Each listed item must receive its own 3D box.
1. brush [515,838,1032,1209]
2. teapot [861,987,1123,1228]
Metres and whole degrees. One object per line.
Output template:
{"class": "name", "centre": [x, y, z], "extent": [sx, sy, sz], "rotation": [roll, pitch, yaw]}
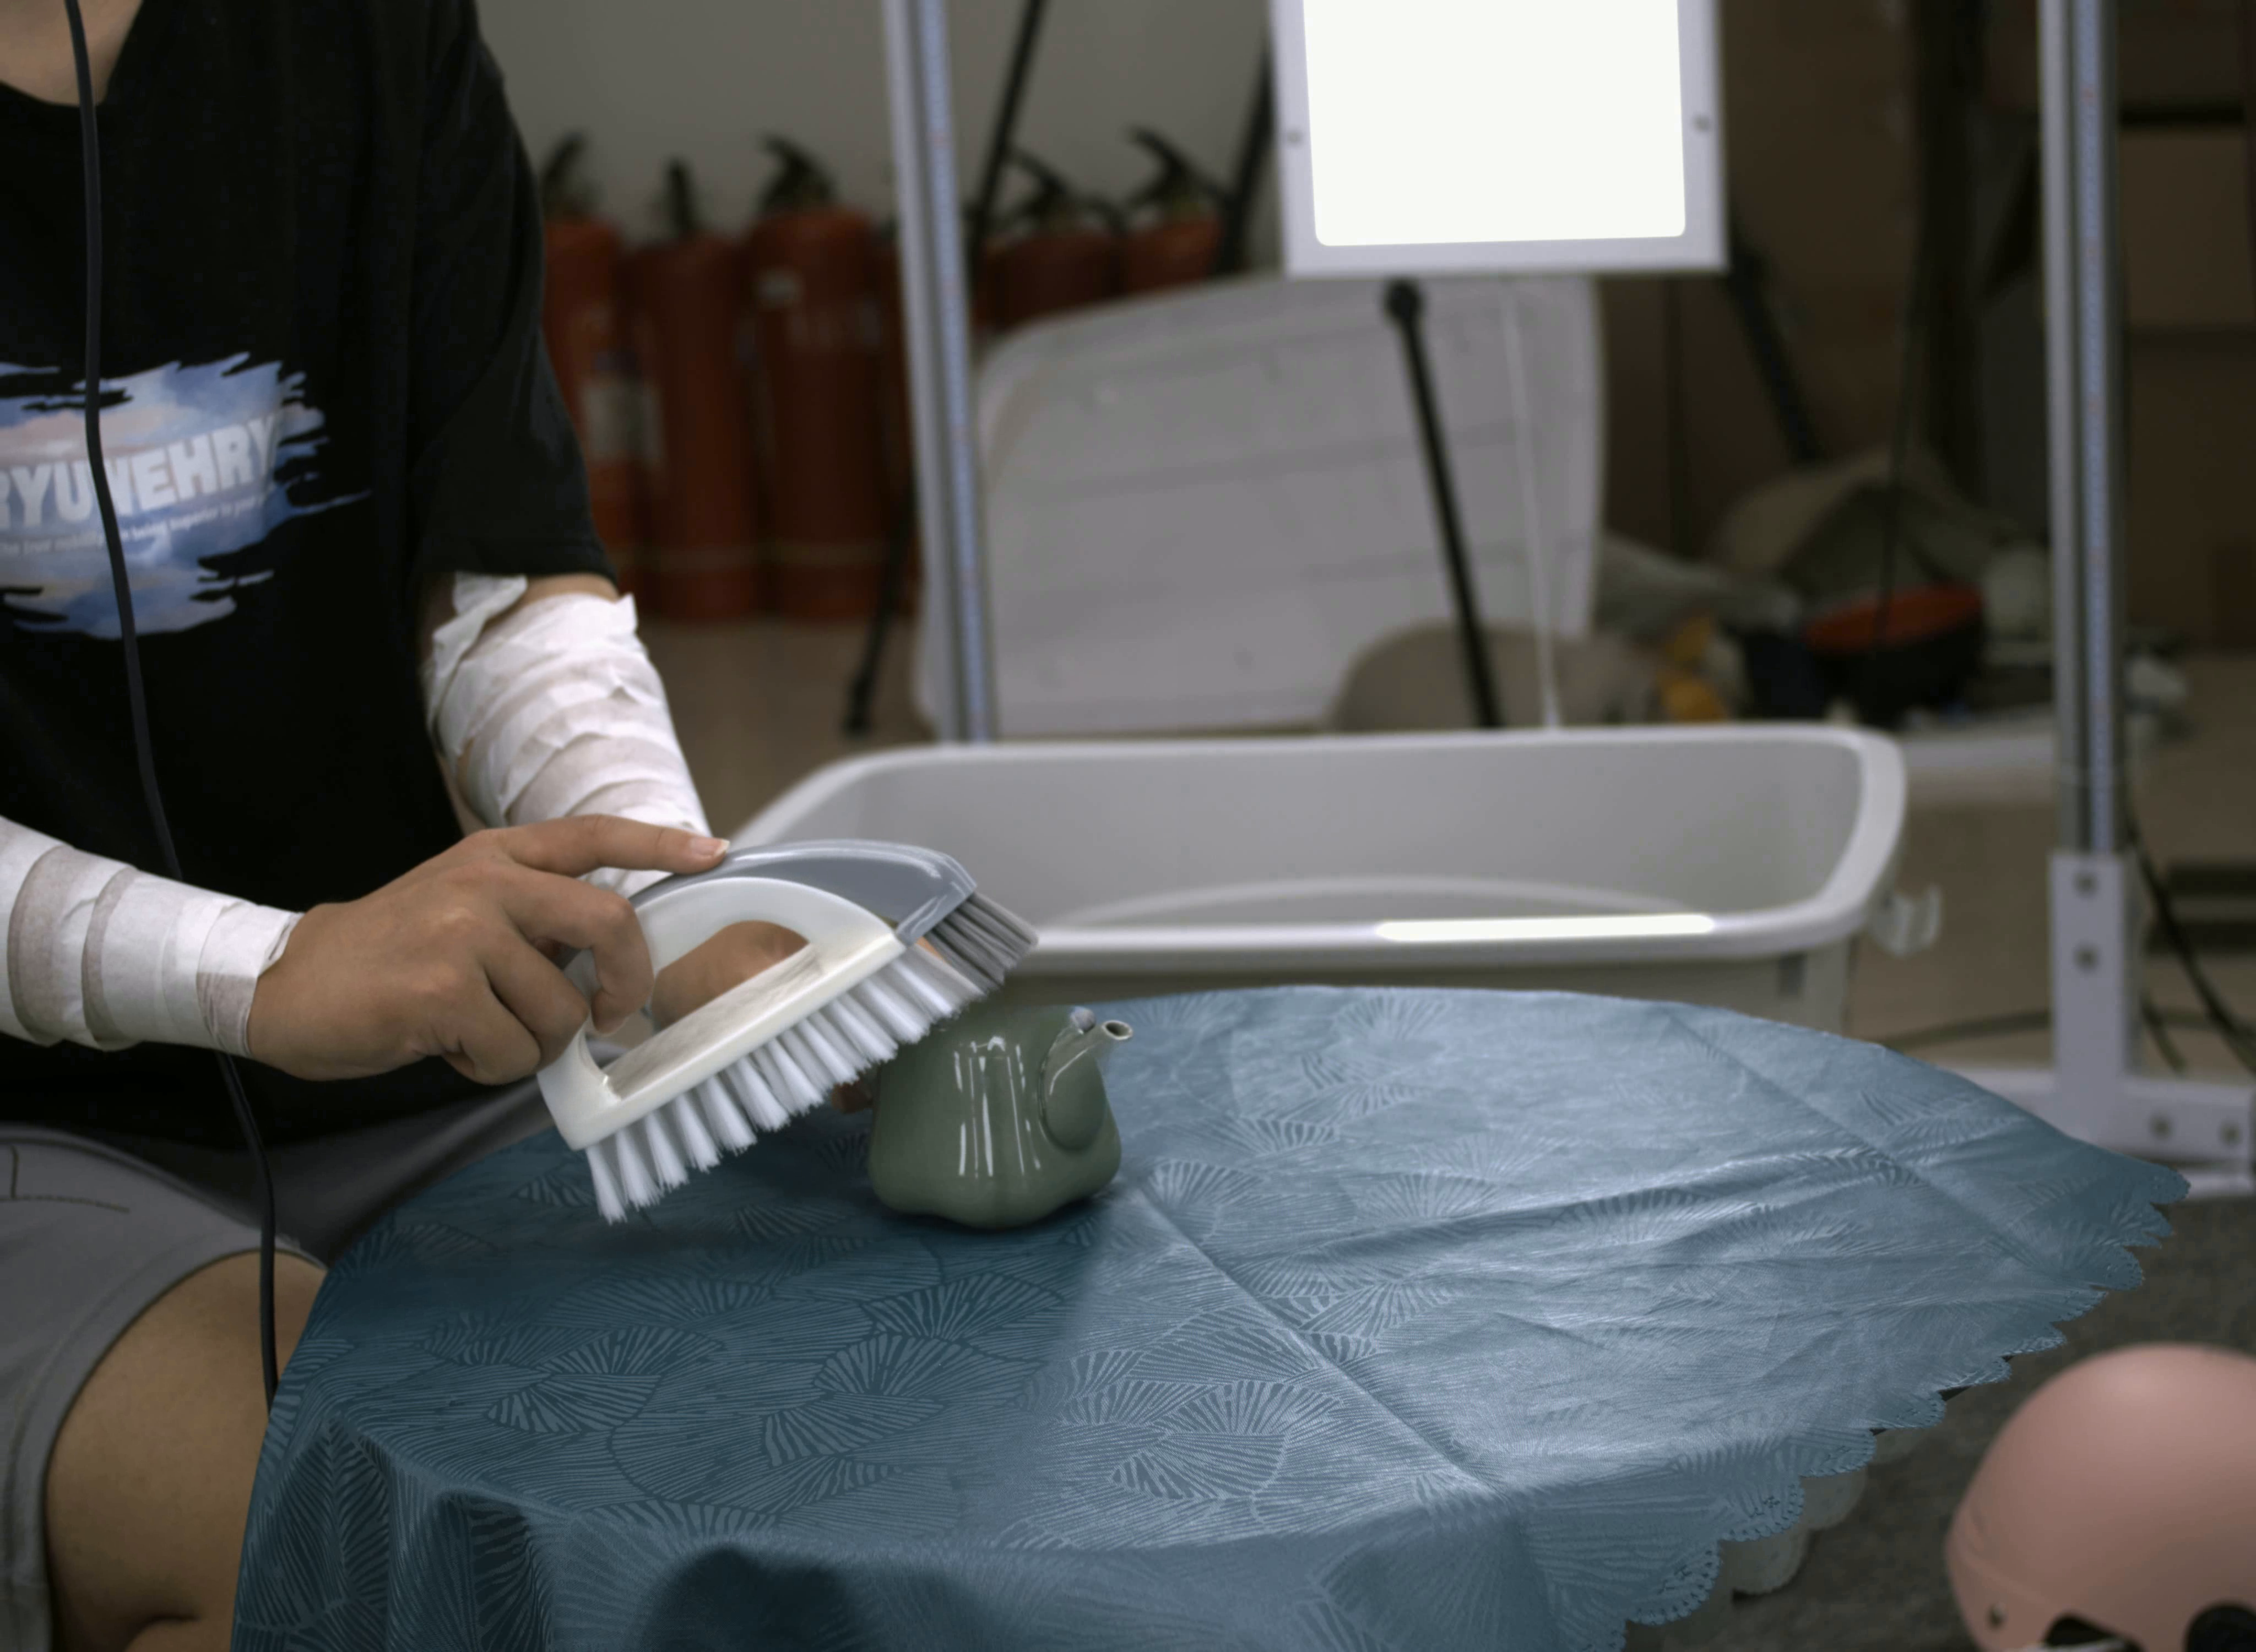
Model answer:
{"class": "brush", "centre": [-0.127, 0.050, 1.865], "extent": [0.177, 0.094, 0.061], "rotation": [-28, 17, 15]}
{"class": "teapot", "centre": [-0.049, 0.094, 1.895], "extent": [0.135, 0.075, 0.077], "rotation": [6, 15, 44]}
